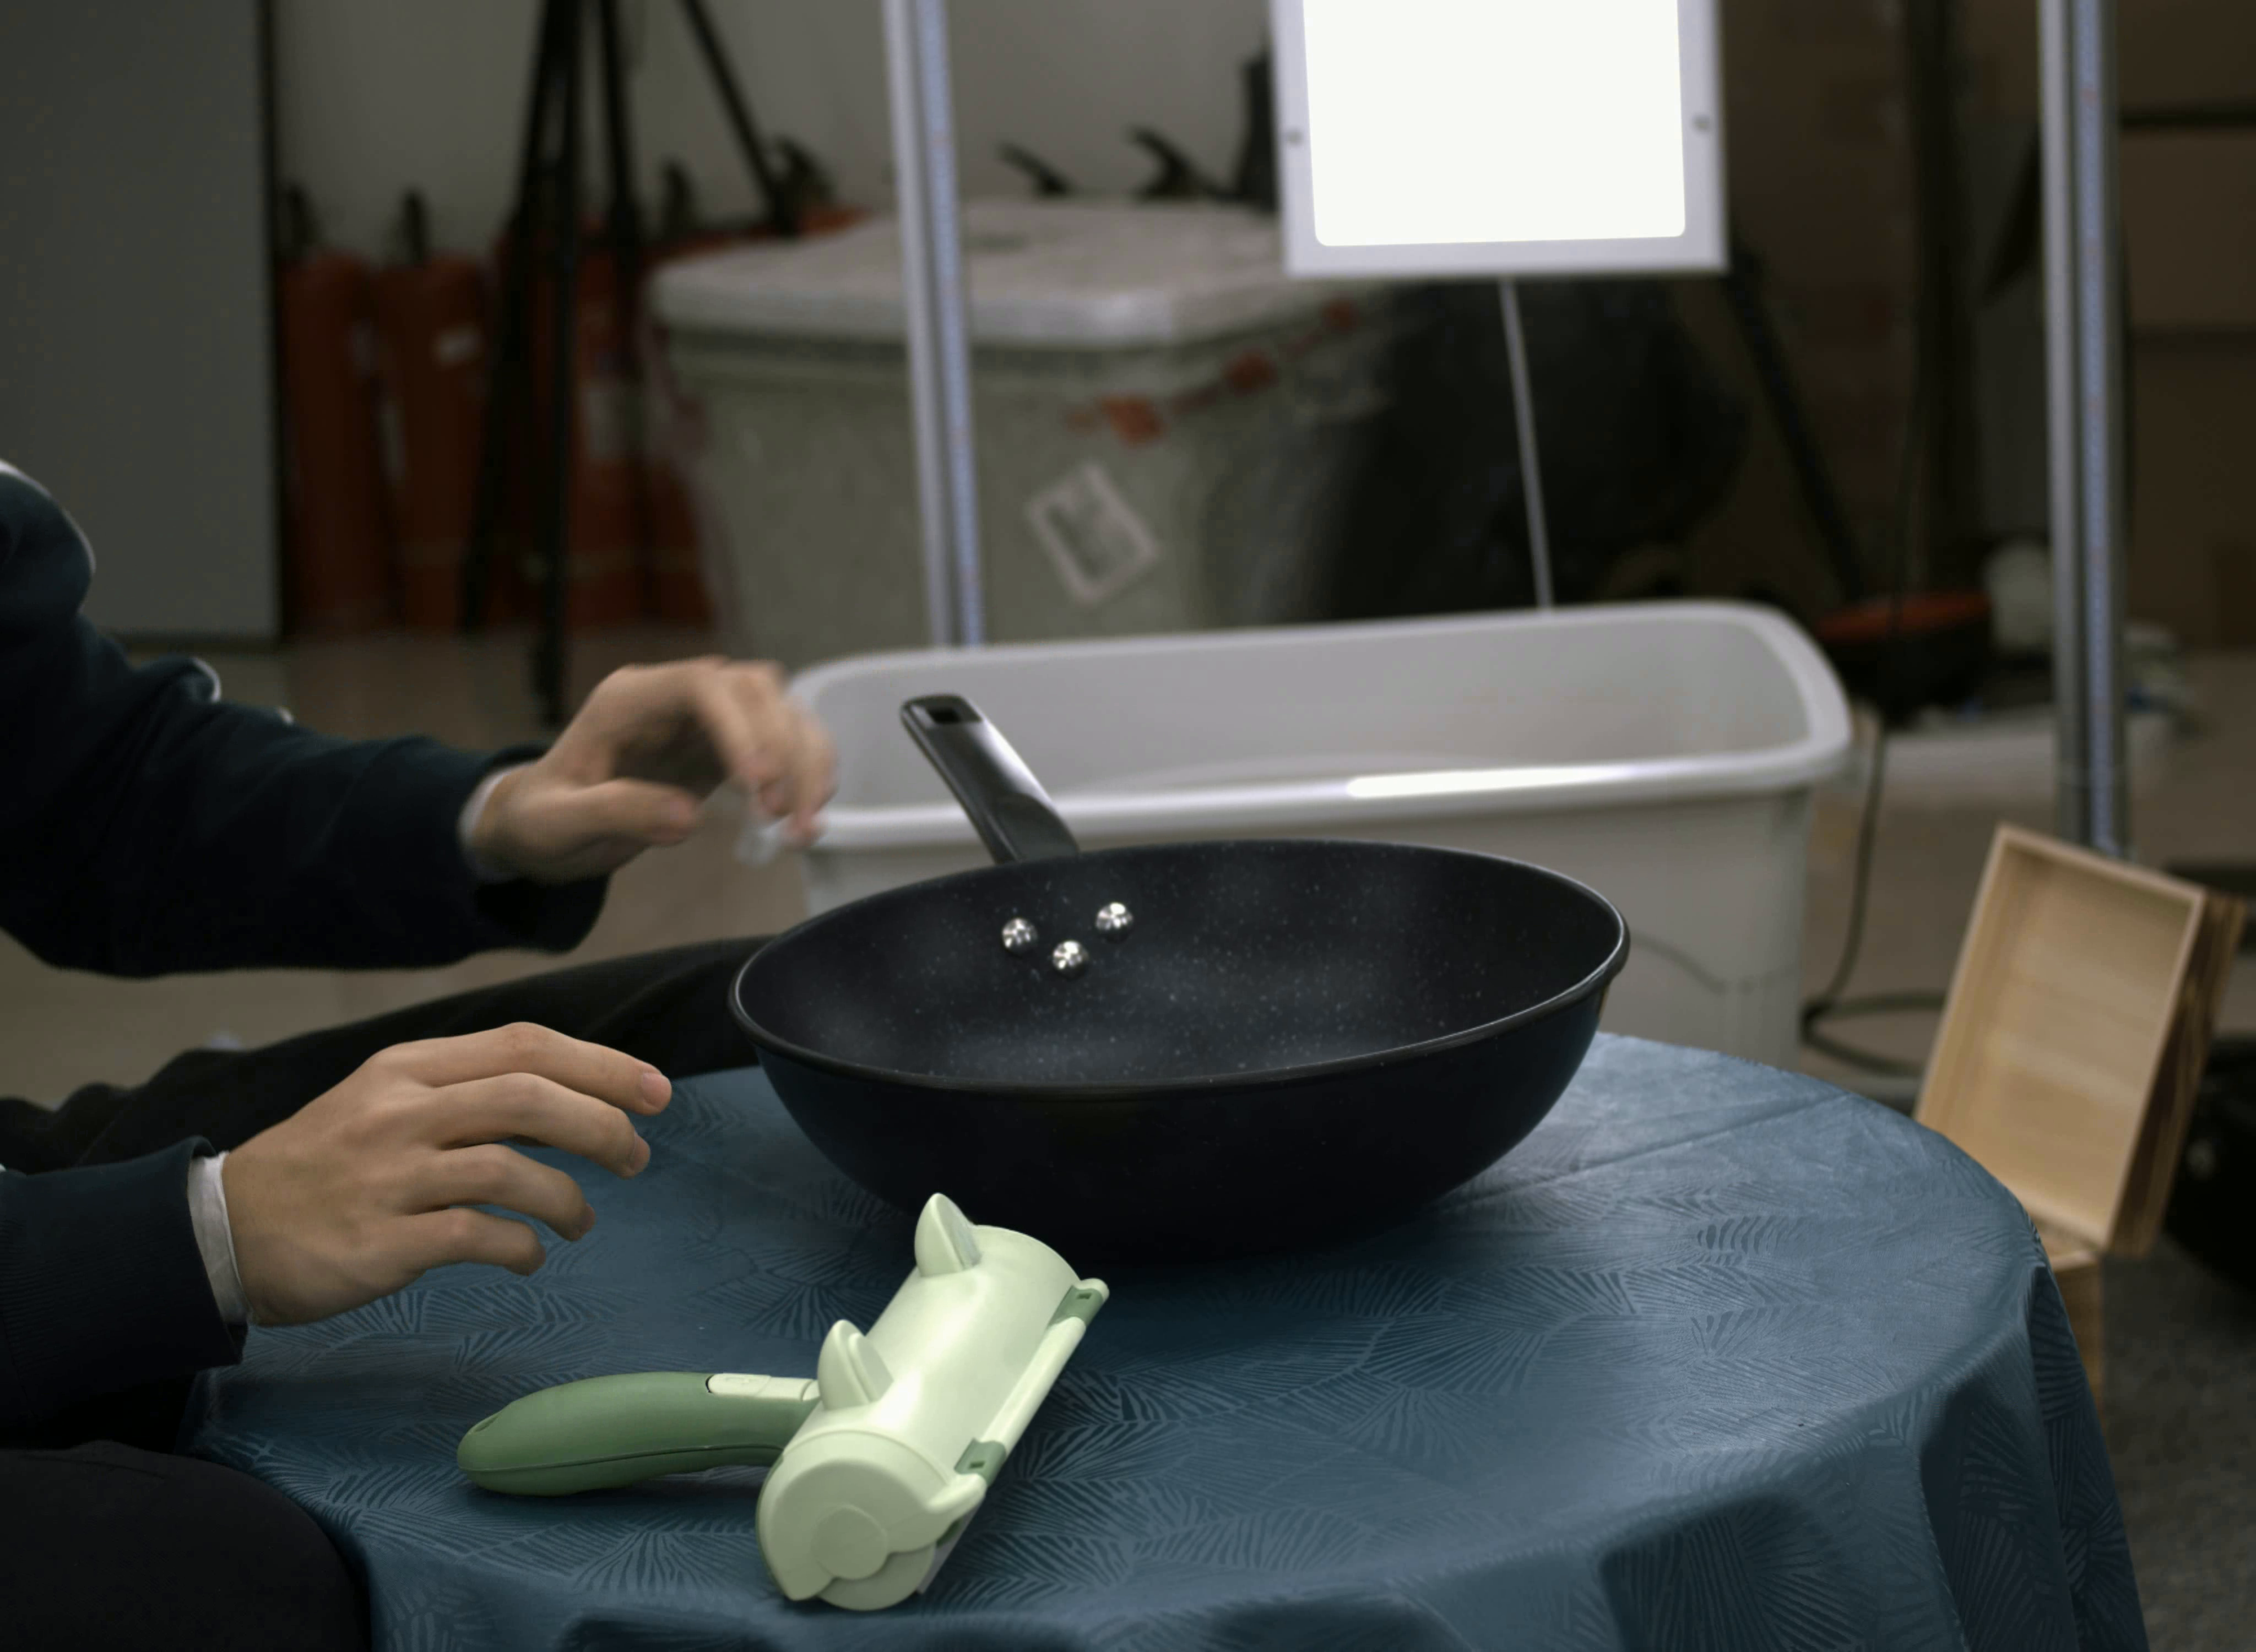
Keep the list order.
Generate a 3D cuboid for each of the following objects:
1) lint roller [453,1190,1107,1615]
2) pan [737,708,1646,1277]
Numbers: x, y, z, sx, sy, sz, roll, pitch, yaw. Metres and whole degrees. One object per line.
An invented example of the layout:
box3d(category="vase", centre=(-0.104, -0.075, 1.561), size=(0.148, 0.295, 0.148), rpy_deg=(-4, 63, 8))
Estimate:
box3d(category="lint roller", centre=(-0.113, 0.162, 1.634), size=(0.185, 0.082, 0.196), rpy_deg=(3, 16, 13))
box3d(category="pan", centre=(-0.002, 0.058, 1.951), size=(0.306, 0.112, 0.482), rpy_deg=(-7, 14, -15))
